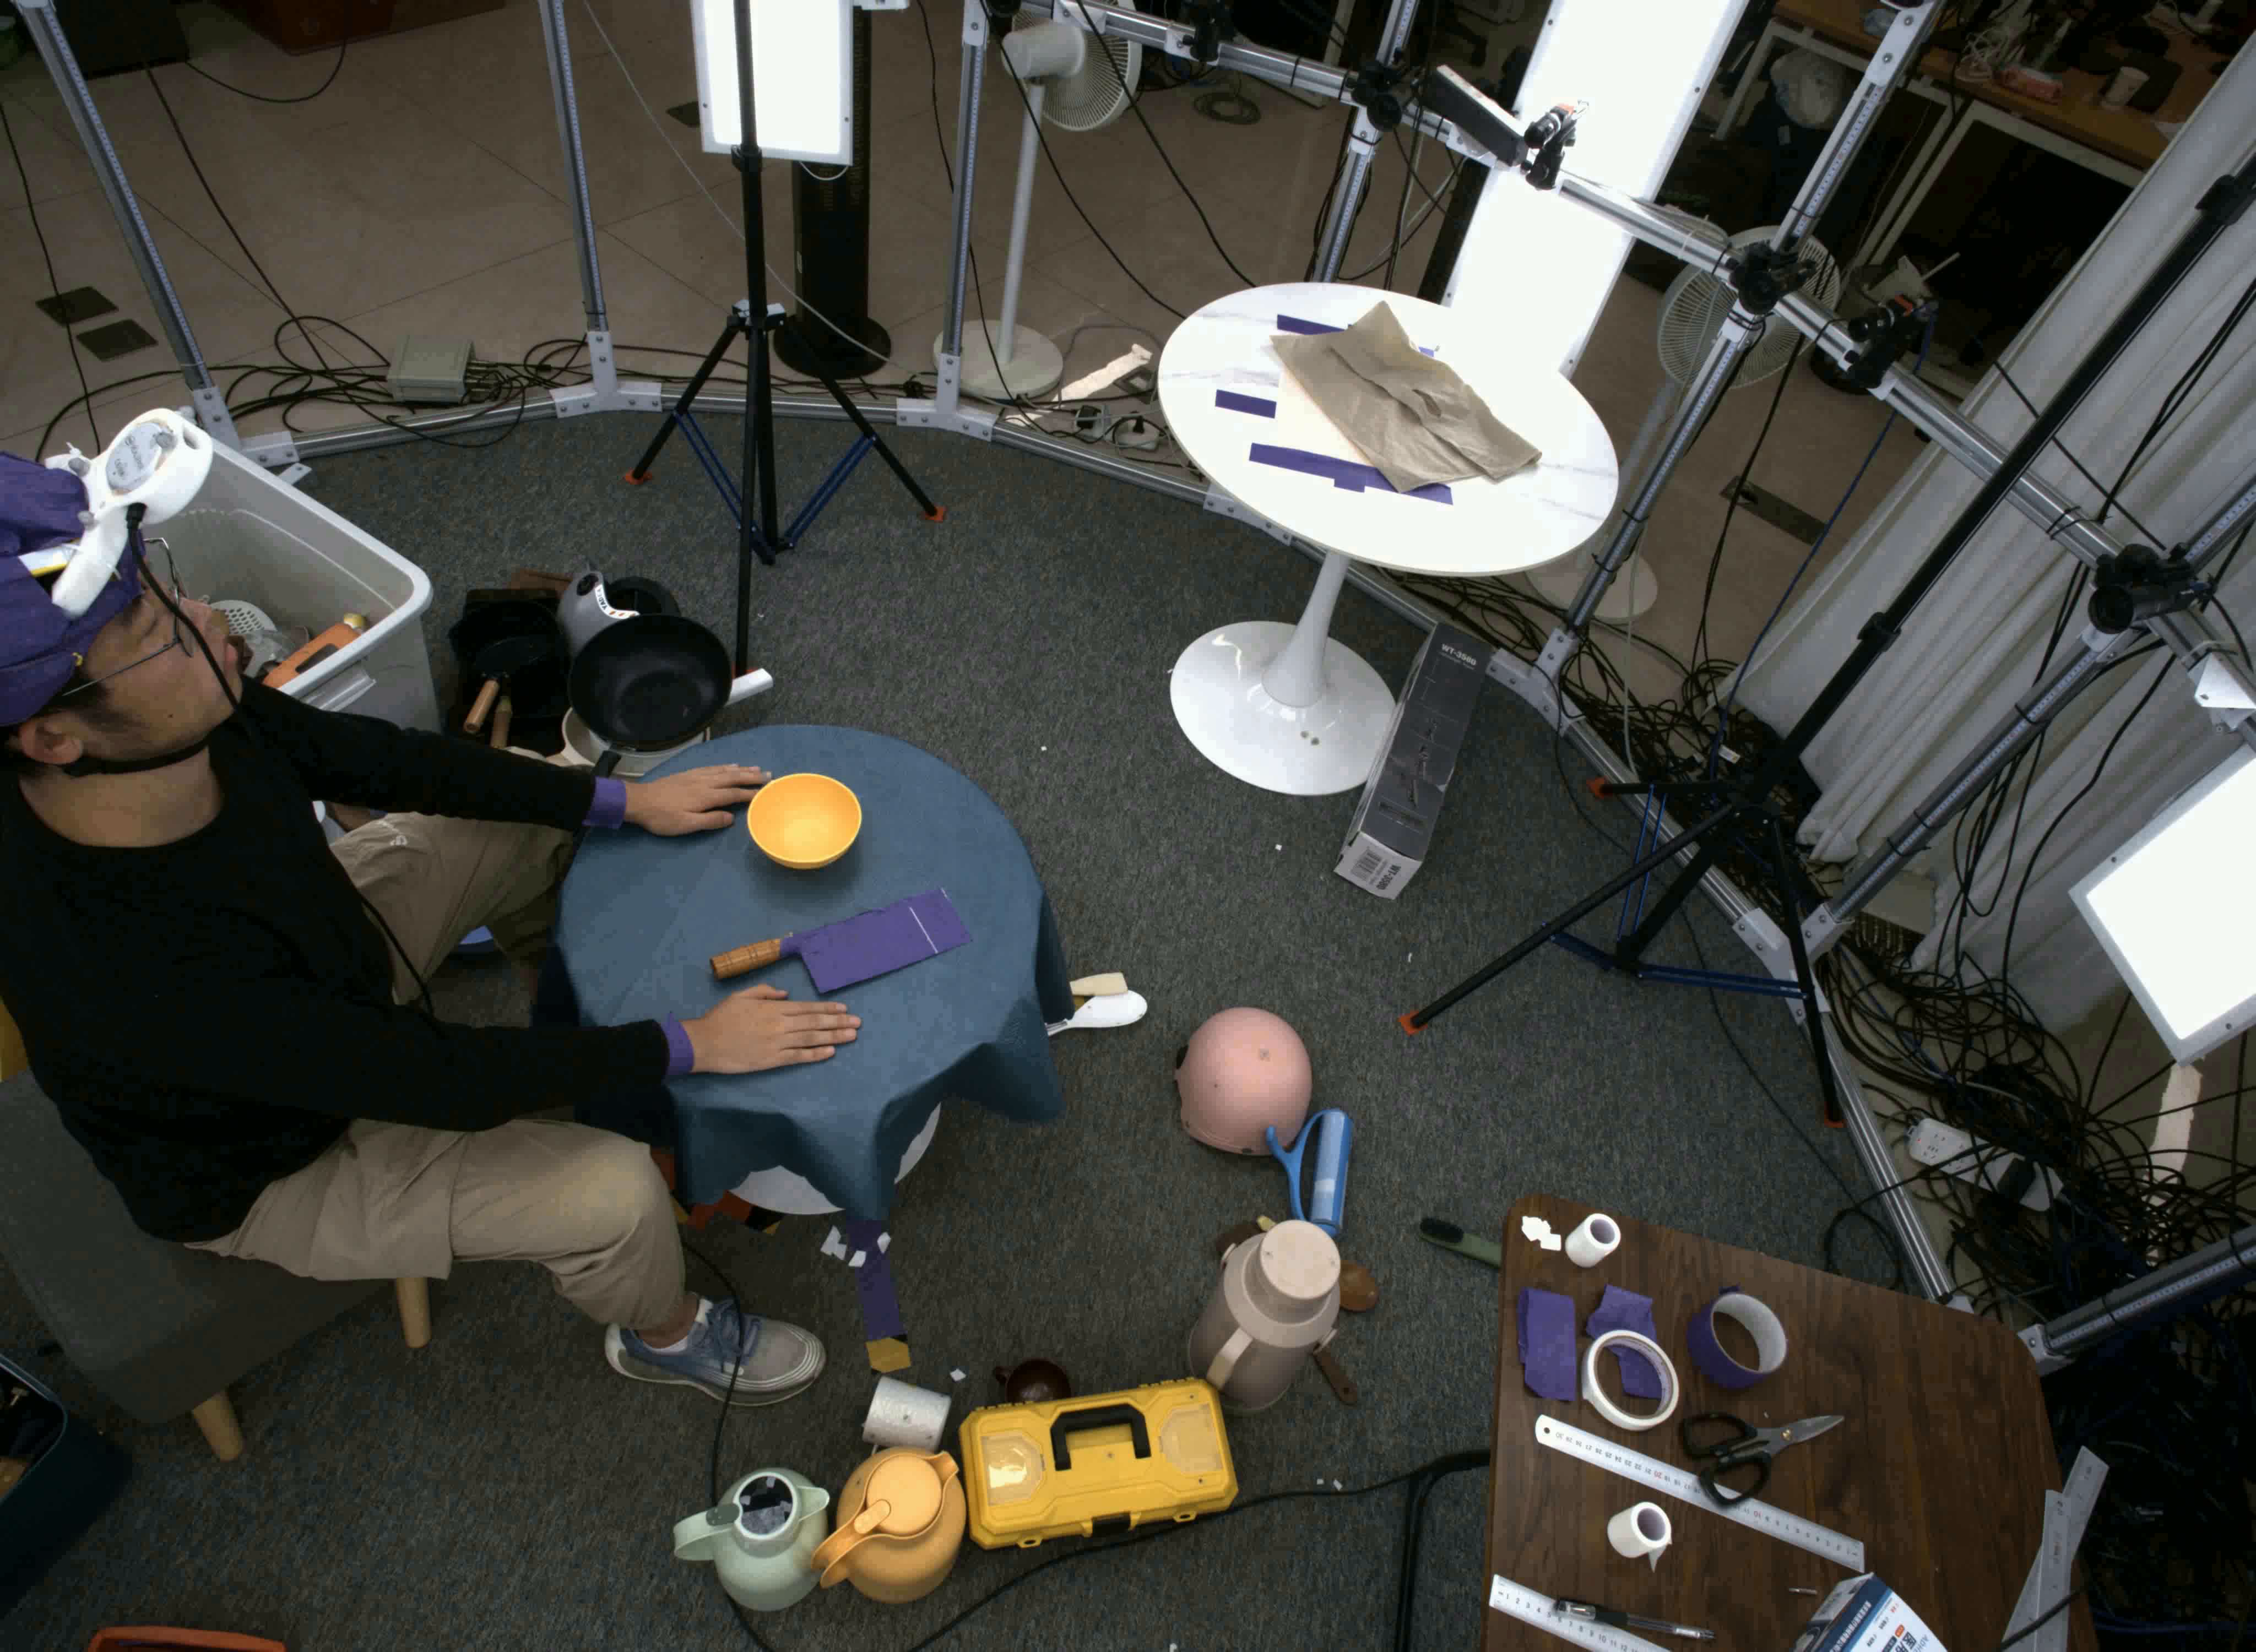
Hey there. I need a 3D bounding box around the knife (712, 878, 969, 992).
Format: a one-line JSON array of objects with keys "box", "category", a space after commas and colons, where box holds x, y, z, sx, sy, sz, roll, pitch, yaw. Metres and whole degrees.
[{"box": [-0.350, 0.150, 1.612, 0.317, 0.033, 0.101, -21, 61, -28], "category": "knife"}]

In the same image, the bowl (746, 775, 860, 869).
[{"box": [-0.419, 0.005, 1.679, 0.145, 0.061, 0.142, 8, 50, -8], "category": "bowl"}]
